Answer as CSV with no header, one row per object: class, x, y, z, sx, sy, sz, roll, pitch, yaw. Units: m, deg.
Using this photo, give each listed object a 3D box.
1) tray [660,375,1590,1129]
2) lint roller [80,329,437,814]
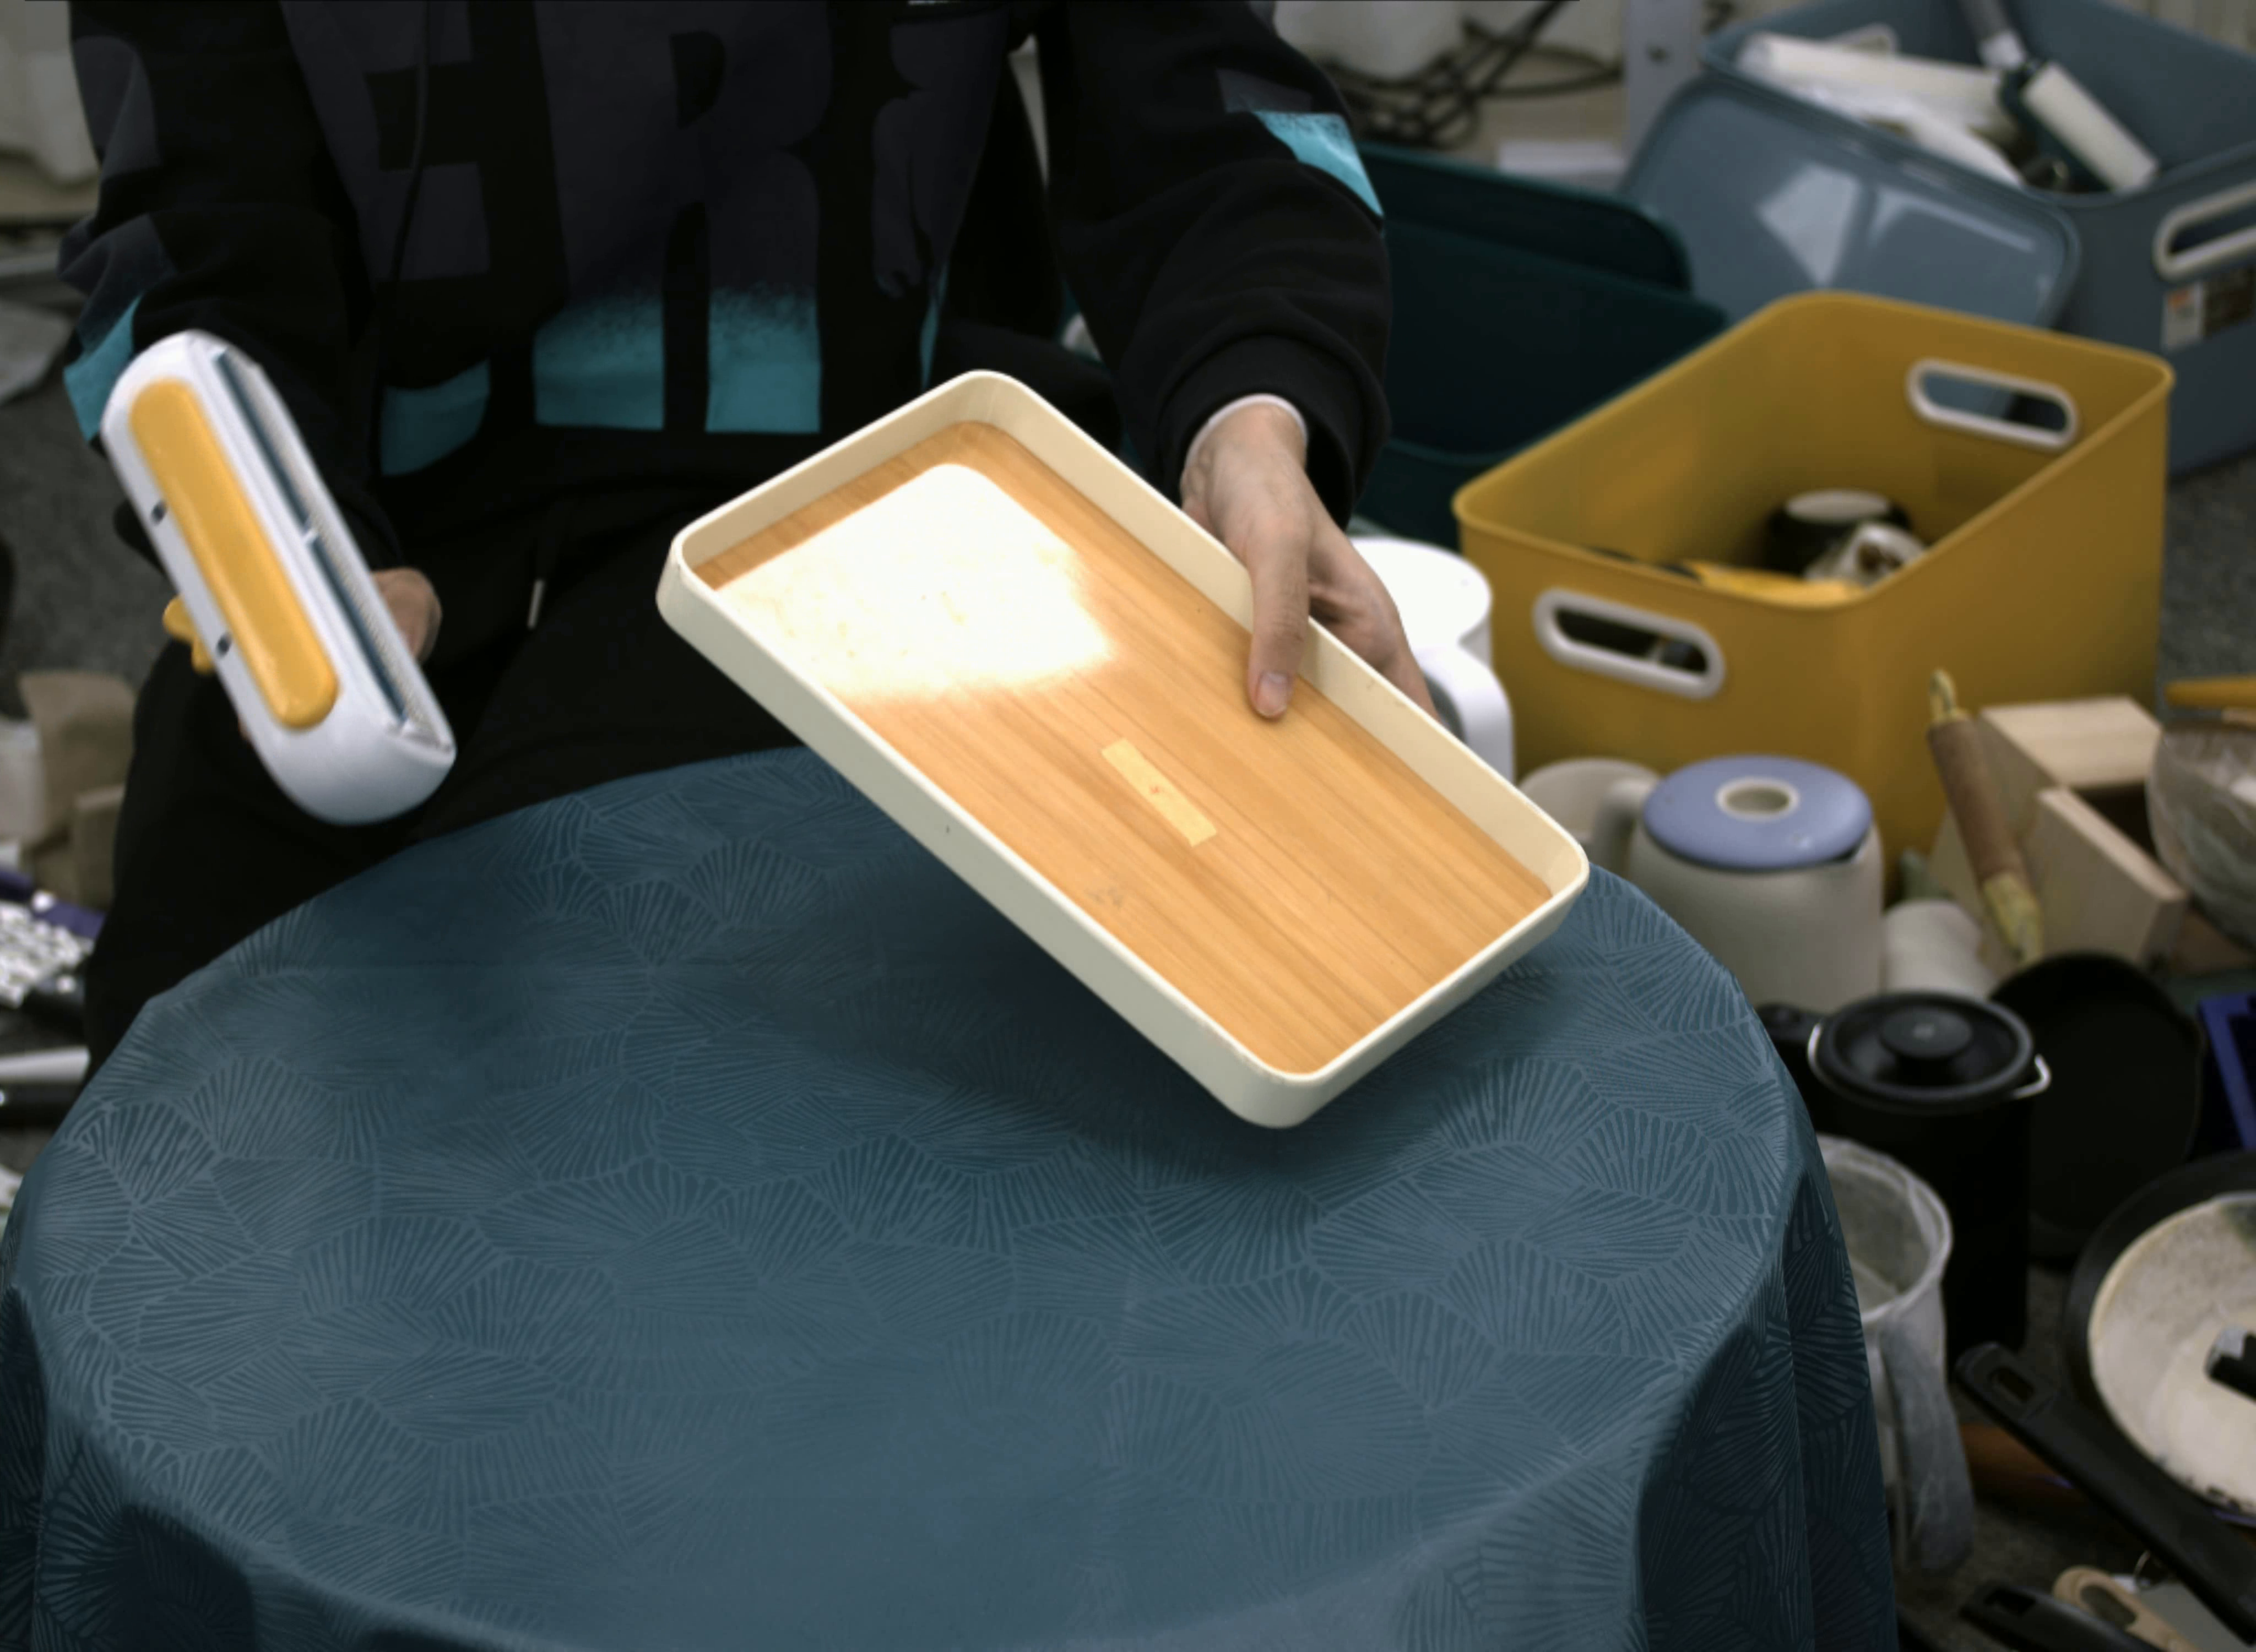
tray,-0.001,-0.031,1.948,0.301,0.027,0.194,41,43,17
lint roller,-0.287,-0.066,2.001,0.074,0.191,0.195,-37,63,5
